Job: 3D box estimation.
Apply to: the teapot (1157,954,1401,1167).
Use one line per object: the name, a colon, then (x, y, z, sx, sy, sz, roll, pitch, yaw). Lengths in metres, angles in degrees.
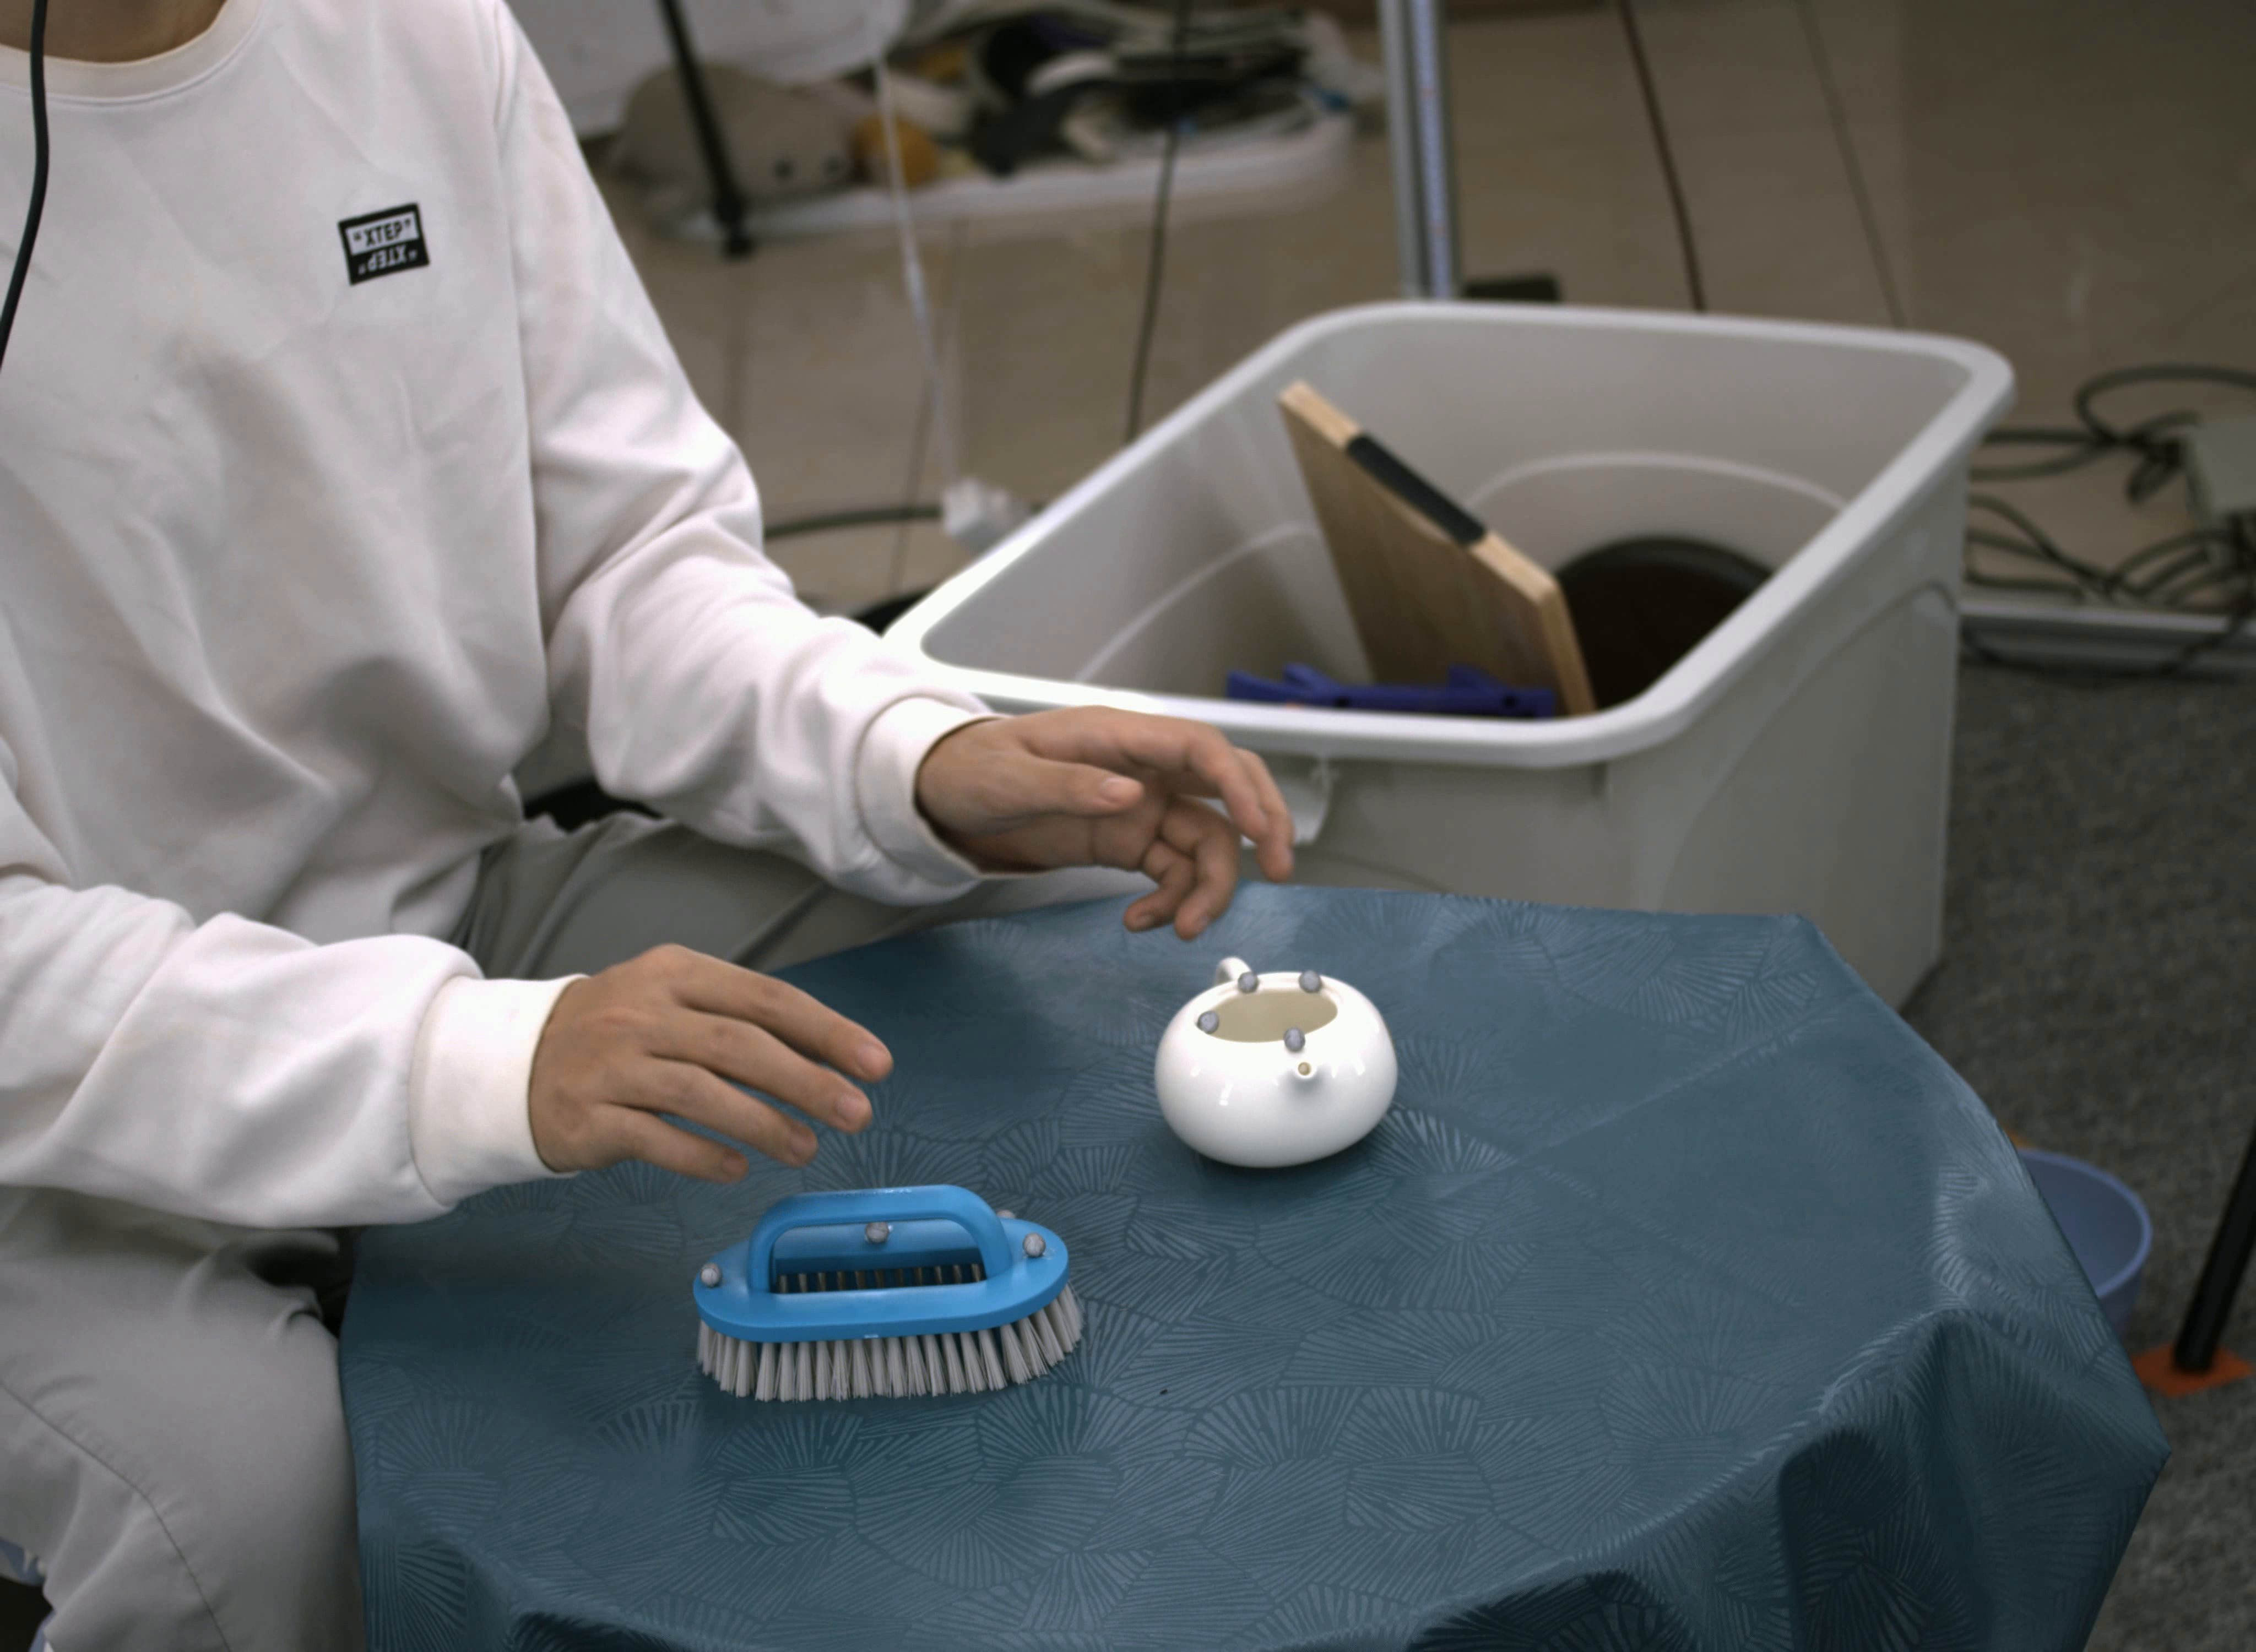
teapot: (0.054, 0.089, 2.175, 0.093, 0.057, 0.126, -18, 26, -13)

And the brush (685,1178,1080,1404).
brush: (-0.091, 0.159, 2.046, 0.141, 0.065, 0.083, -4, 30, 8)
